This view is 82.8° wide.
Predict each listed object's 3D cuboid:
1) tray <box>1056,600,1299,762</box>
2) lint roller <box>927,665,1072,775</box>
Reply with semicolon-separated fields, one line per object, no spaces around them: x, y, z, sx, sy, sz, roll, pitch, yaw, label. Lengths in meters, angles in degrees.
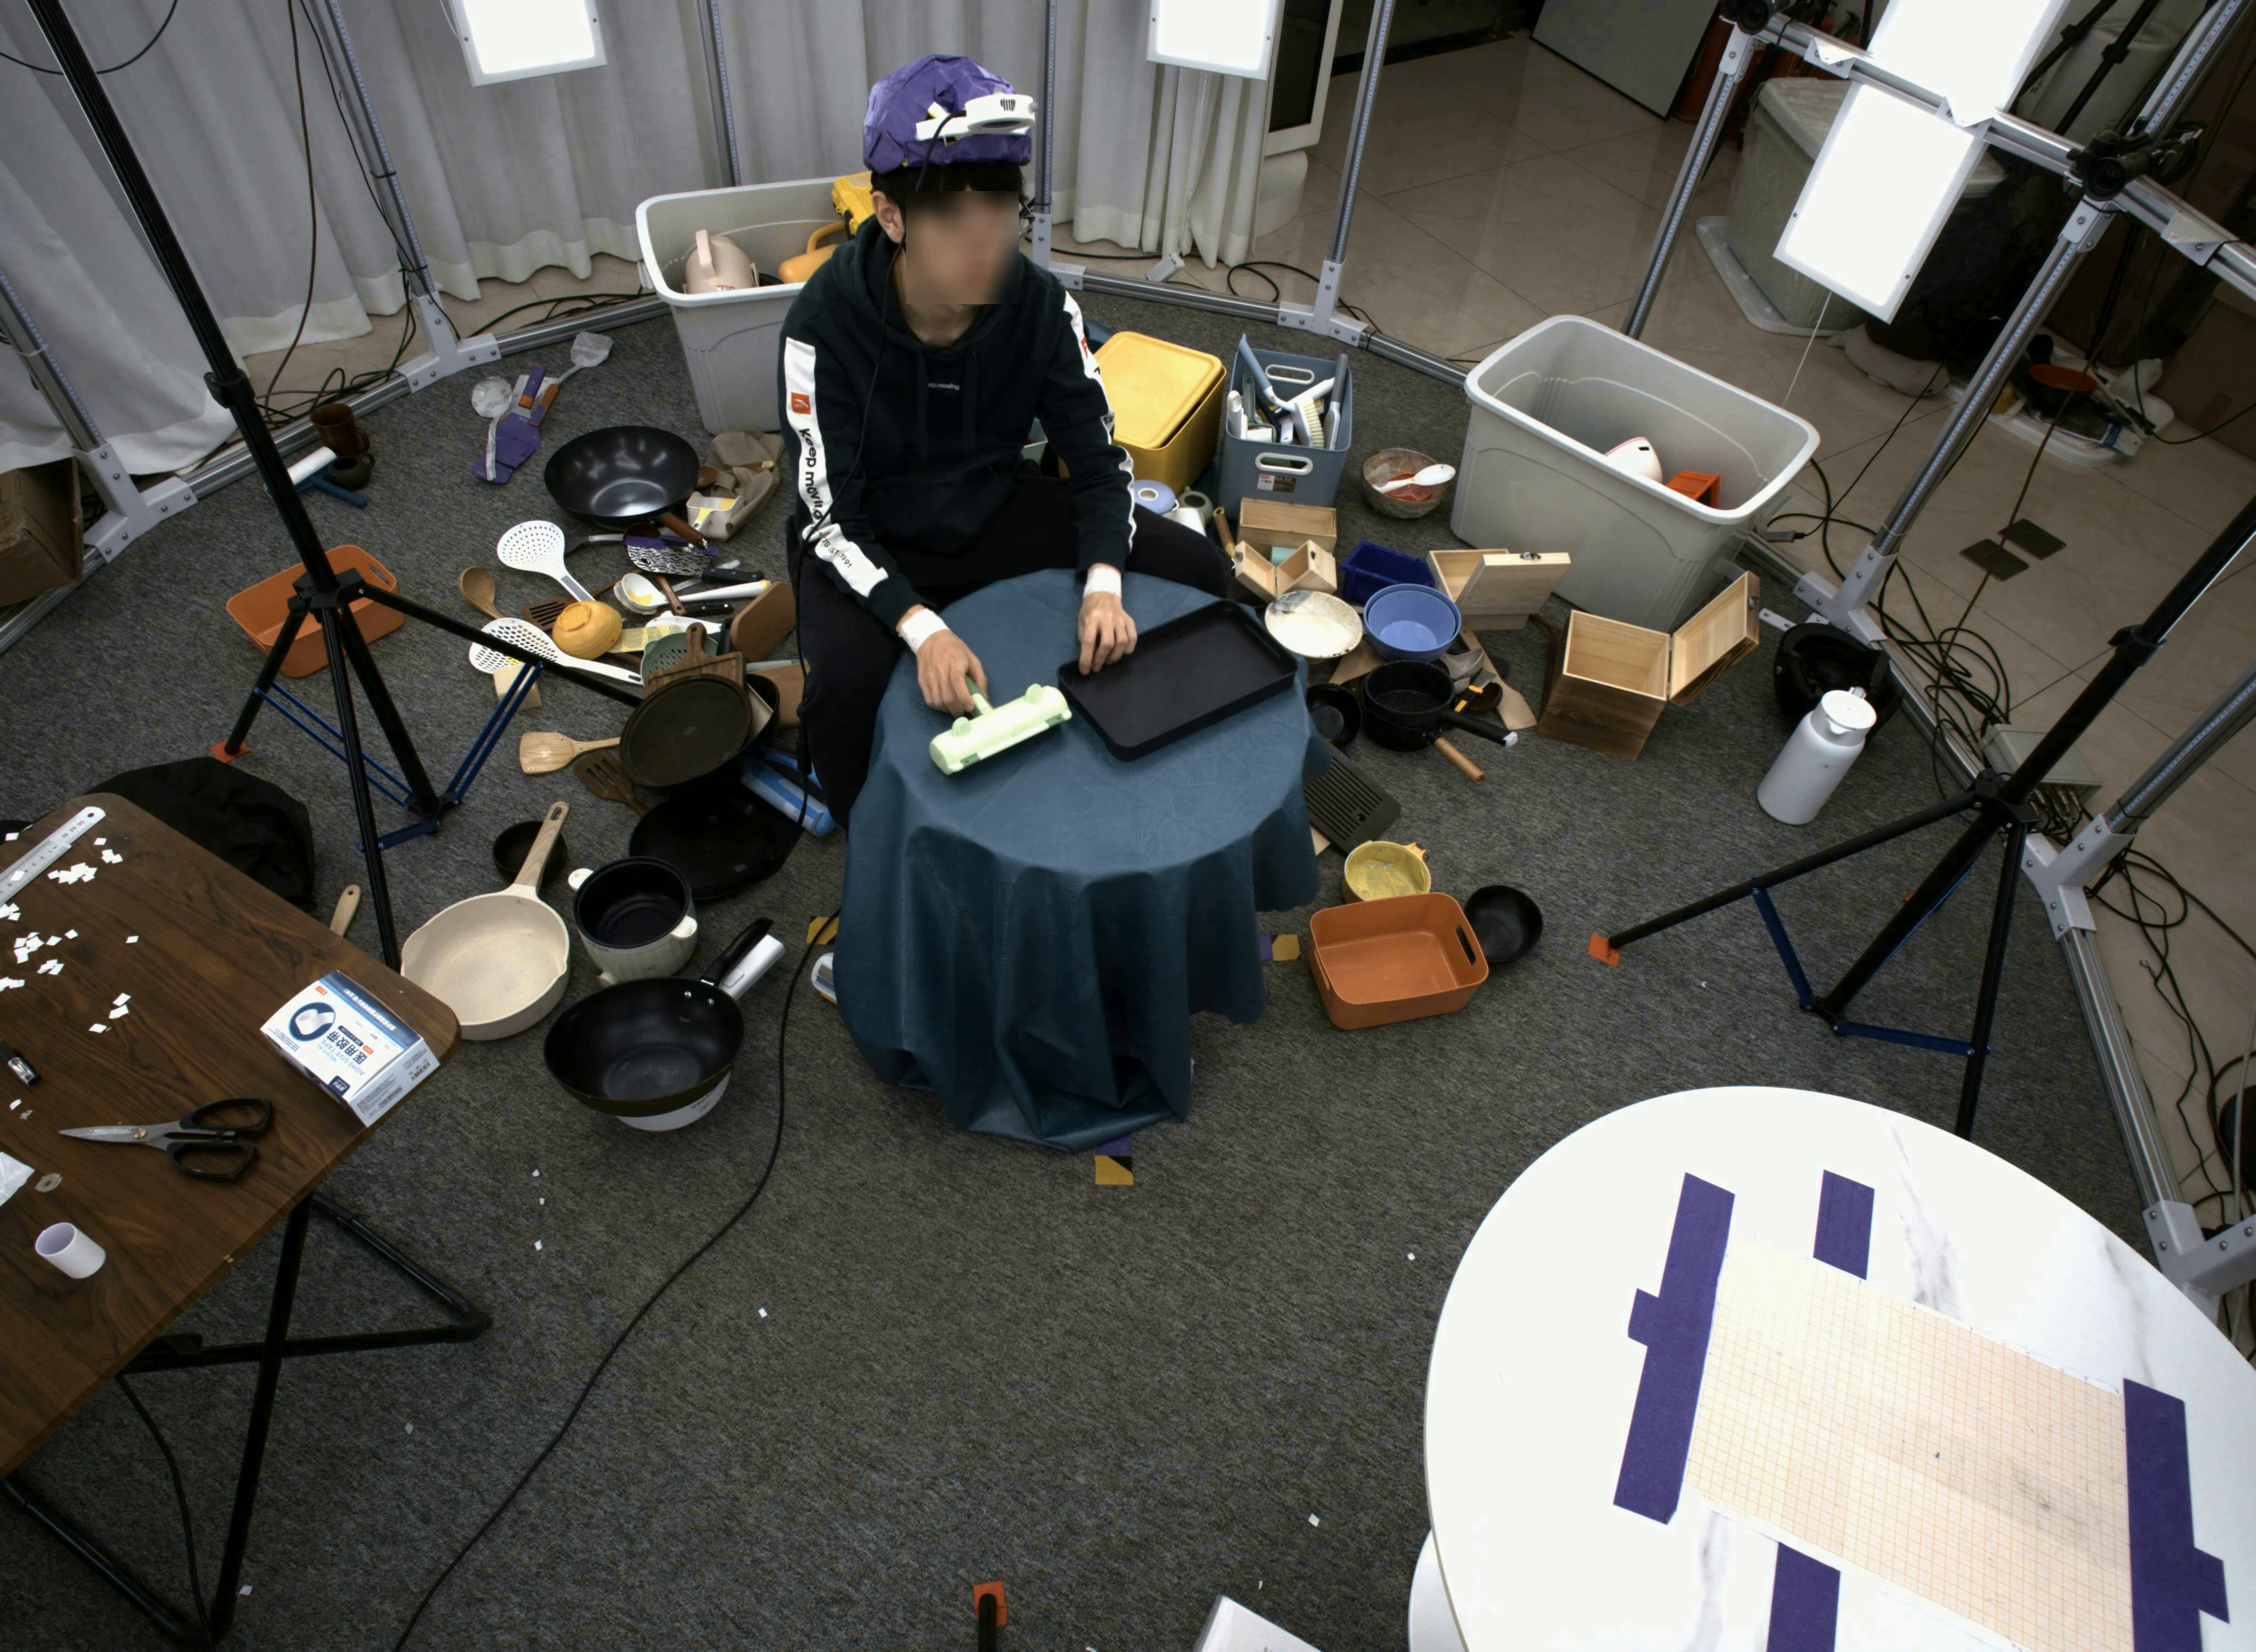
0.071;-0.213;1.834;0.319;0.036;0.188;-25;55;-23;tray
-0.204;-0.174;1.749;0.199;0.080;0.186;-27;63;-24;lint roller
